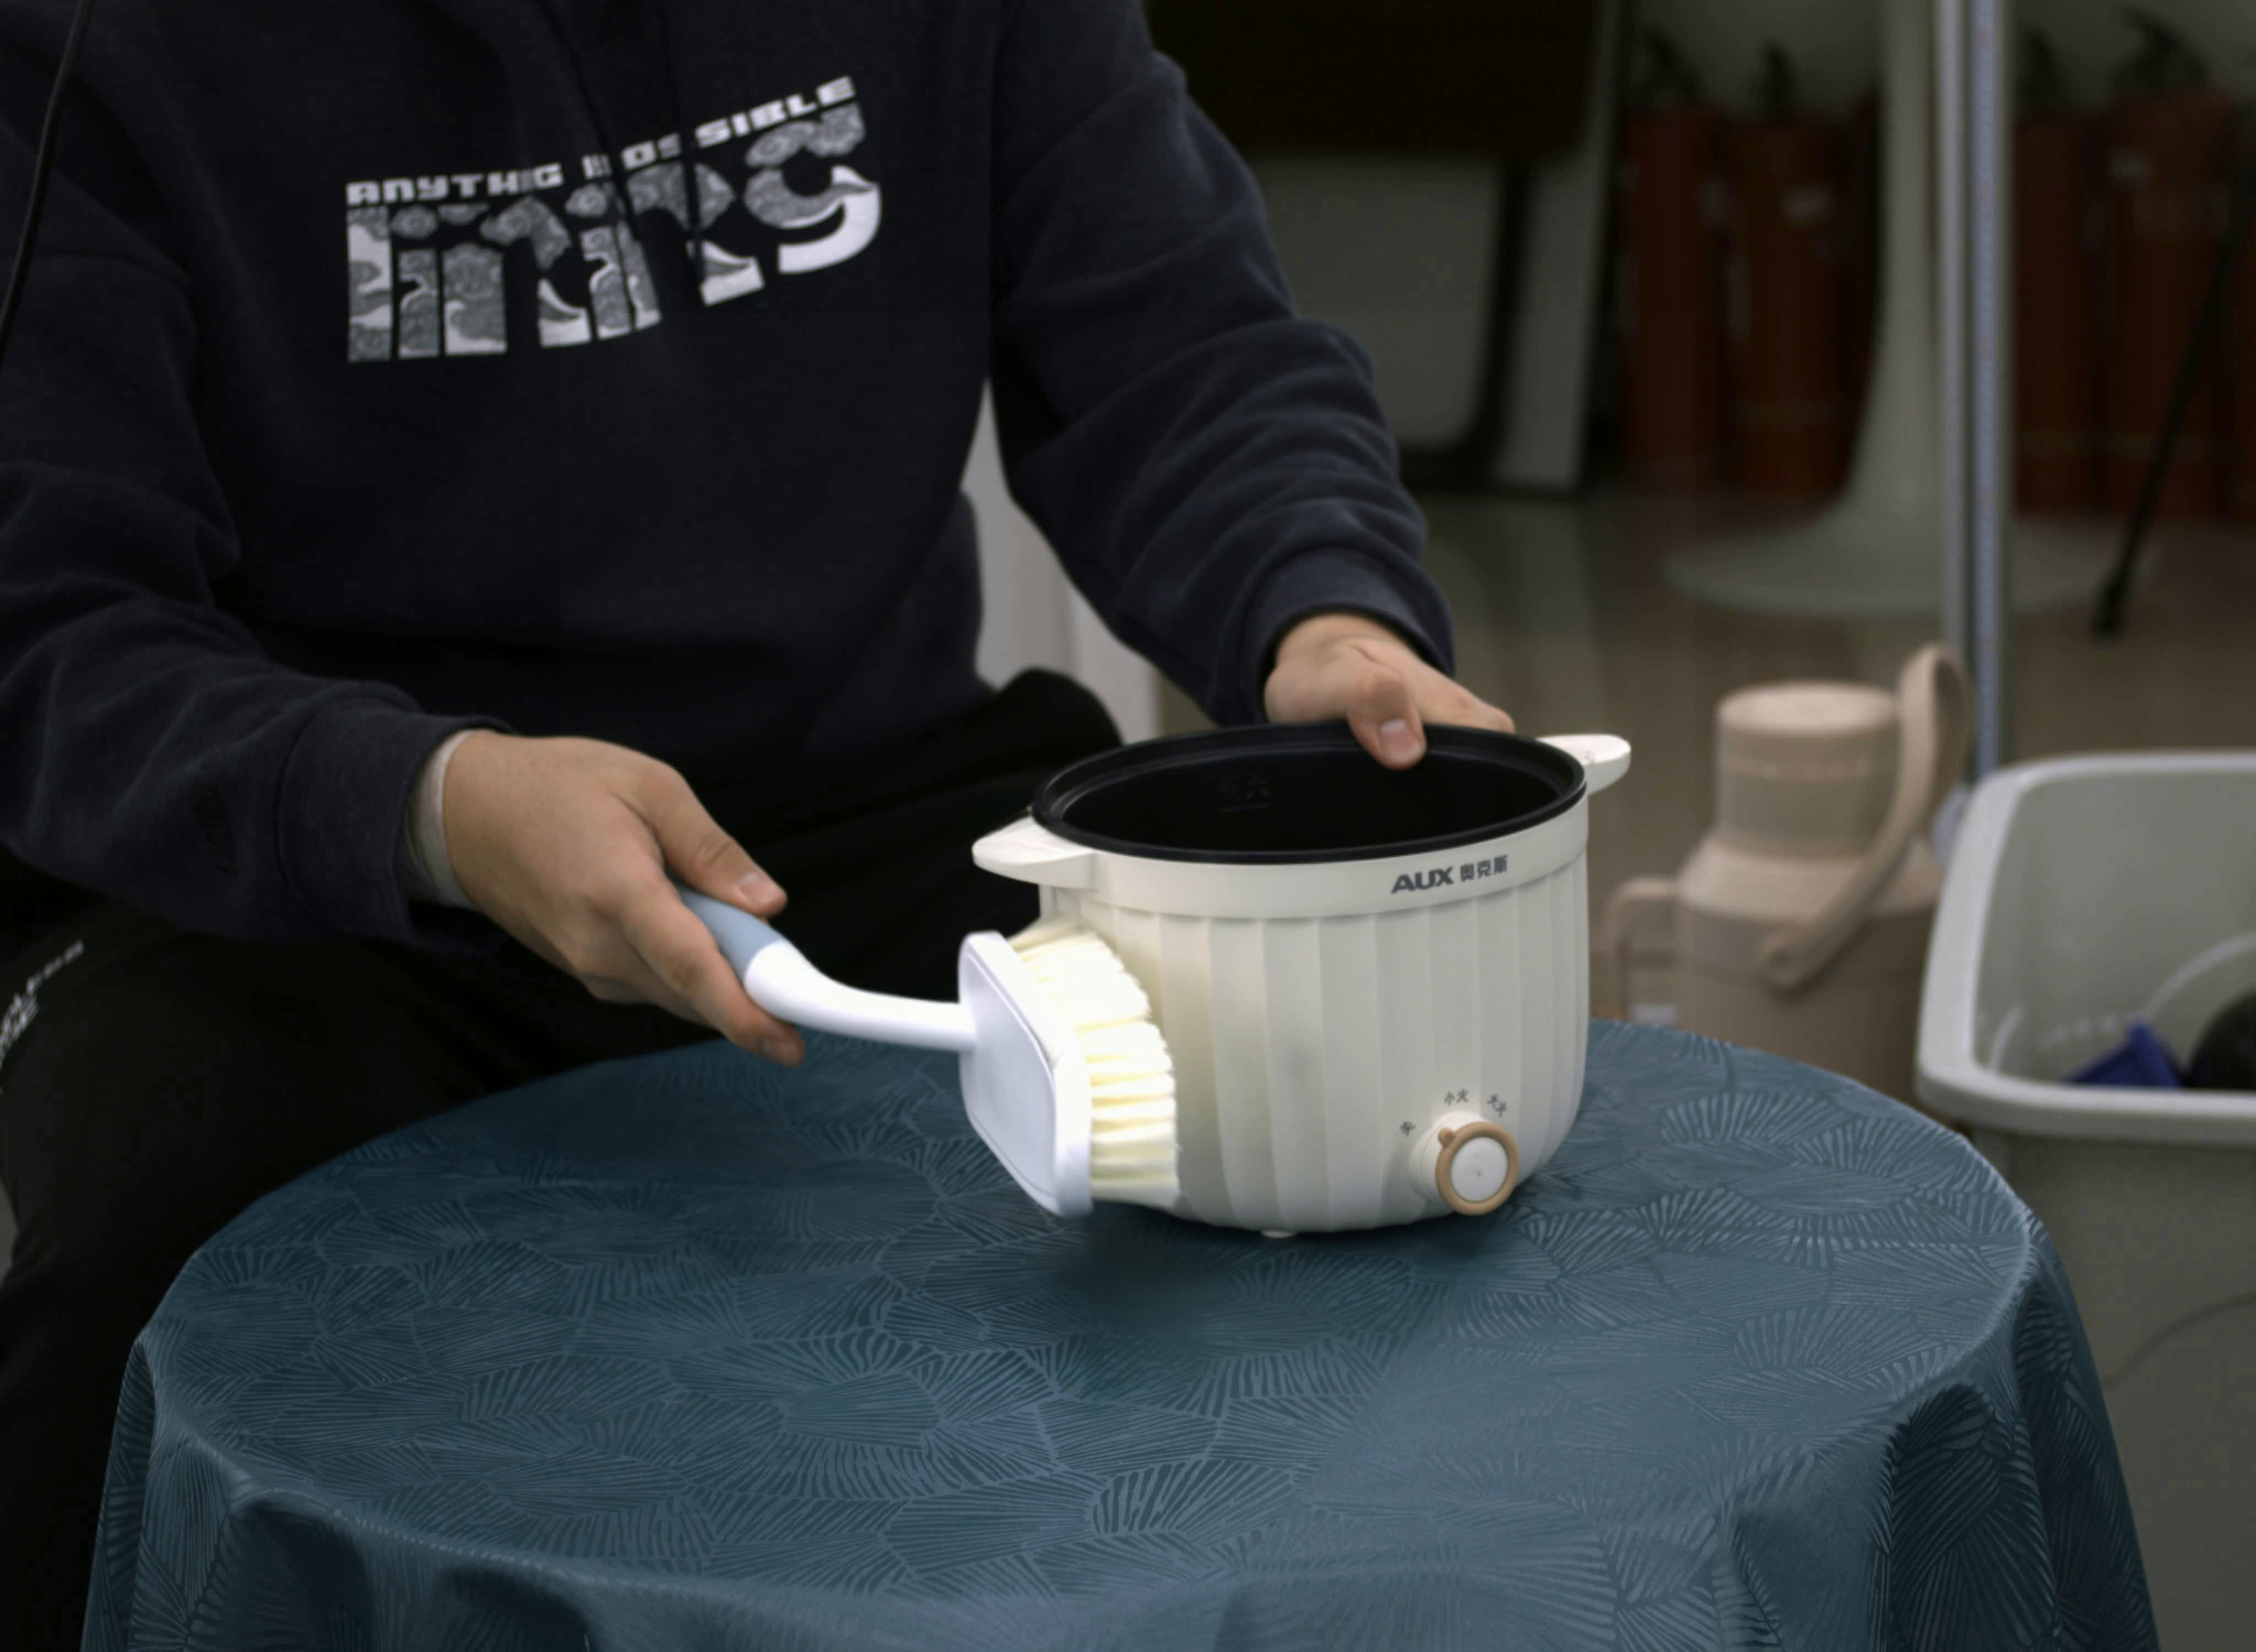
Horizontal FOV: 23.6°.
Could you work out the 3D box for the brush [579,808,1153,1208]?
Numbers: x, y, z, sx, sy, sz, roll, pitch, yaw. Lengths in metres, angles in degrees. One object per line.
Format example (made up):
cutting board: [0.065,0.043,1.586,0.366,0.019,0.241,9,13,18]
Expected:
brush: [-0.071,0.042,1.751,0.083,0.083,0.329,31,0,-36]

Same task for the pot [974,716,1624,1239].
pot: [0.065,0.050,1.752,0.235,0.144,0.192,-11,12,-25]
